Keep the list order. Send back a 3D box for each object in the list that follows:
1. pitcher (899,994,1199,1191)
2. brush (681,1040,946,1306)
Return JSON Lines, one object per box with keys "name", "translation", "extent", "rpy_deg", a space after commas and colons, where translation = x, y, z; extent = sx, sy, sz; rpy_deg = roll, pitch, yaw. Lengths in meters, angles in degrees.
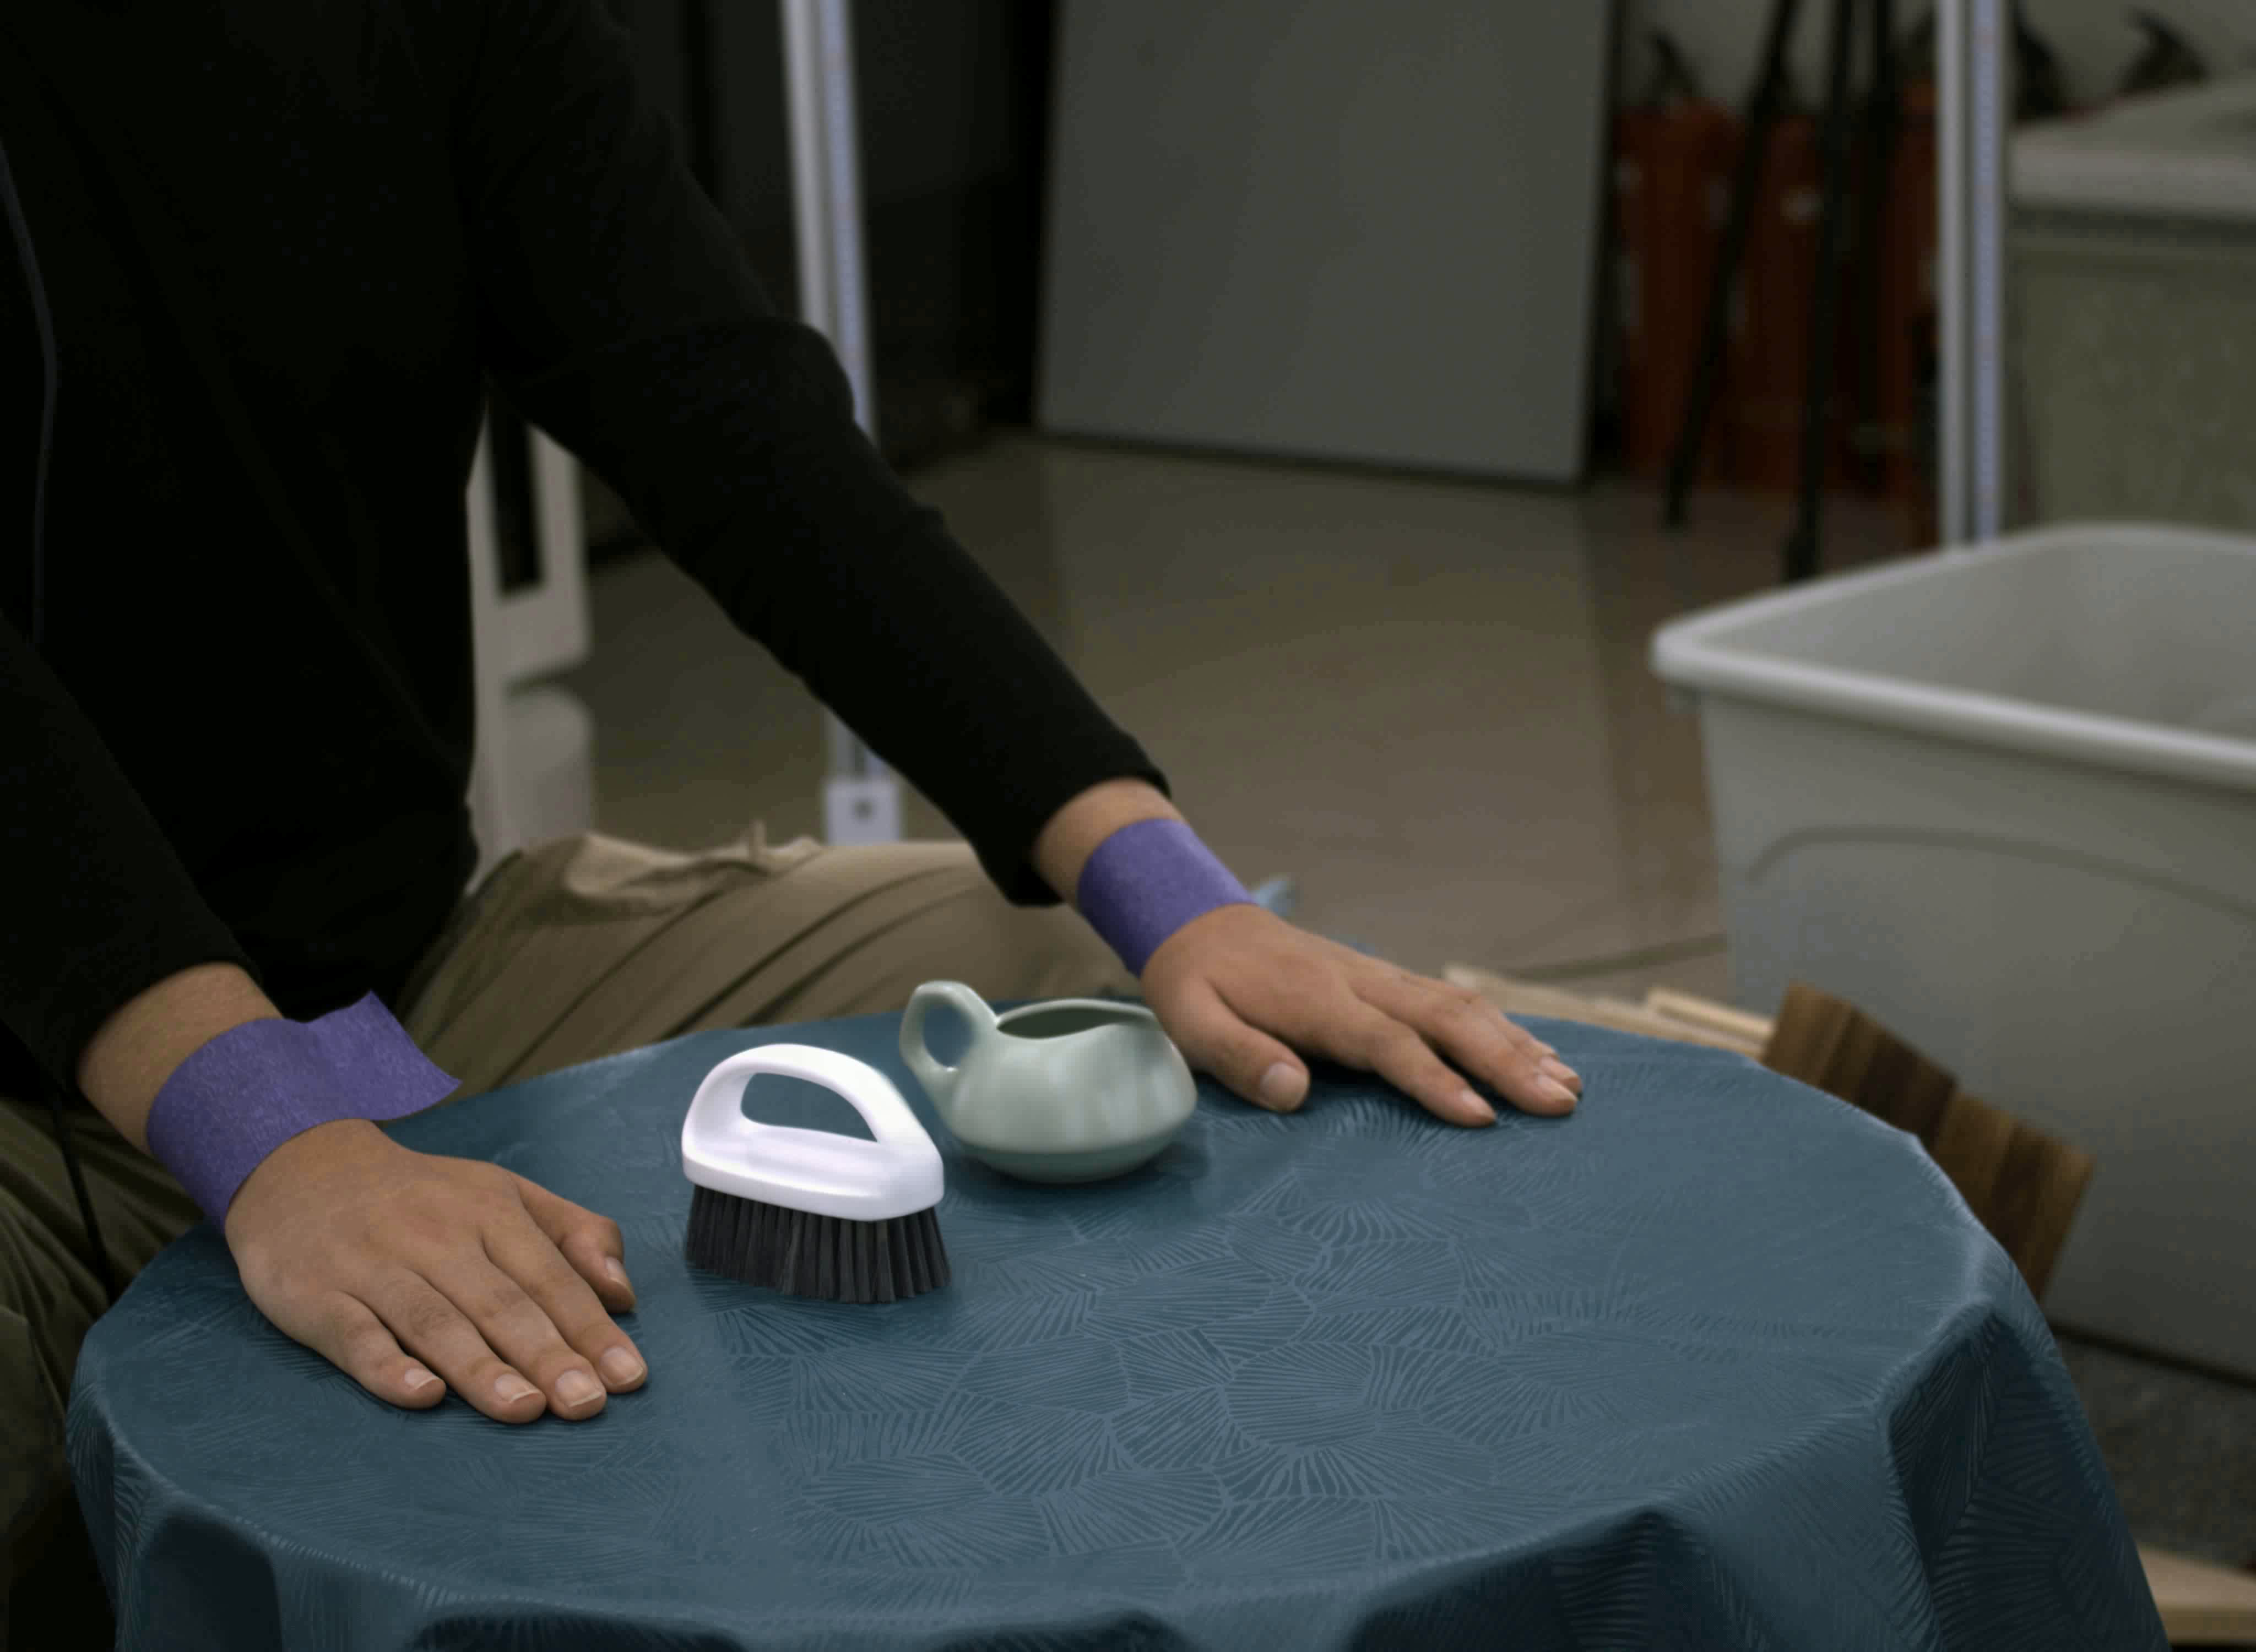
{"name": "pitcher", "translation": [-0.029, 0.087, 1.801], "extent": [0.108, 0.061, 0.085], "rpy_deg": [1, 13, 30]}
{"name": "brush", "translation": [-0.101, 0.105, 1.706], "extent": [0.100, 0.073, 0.049], "rpy_deg": [10, 17, 43]}
